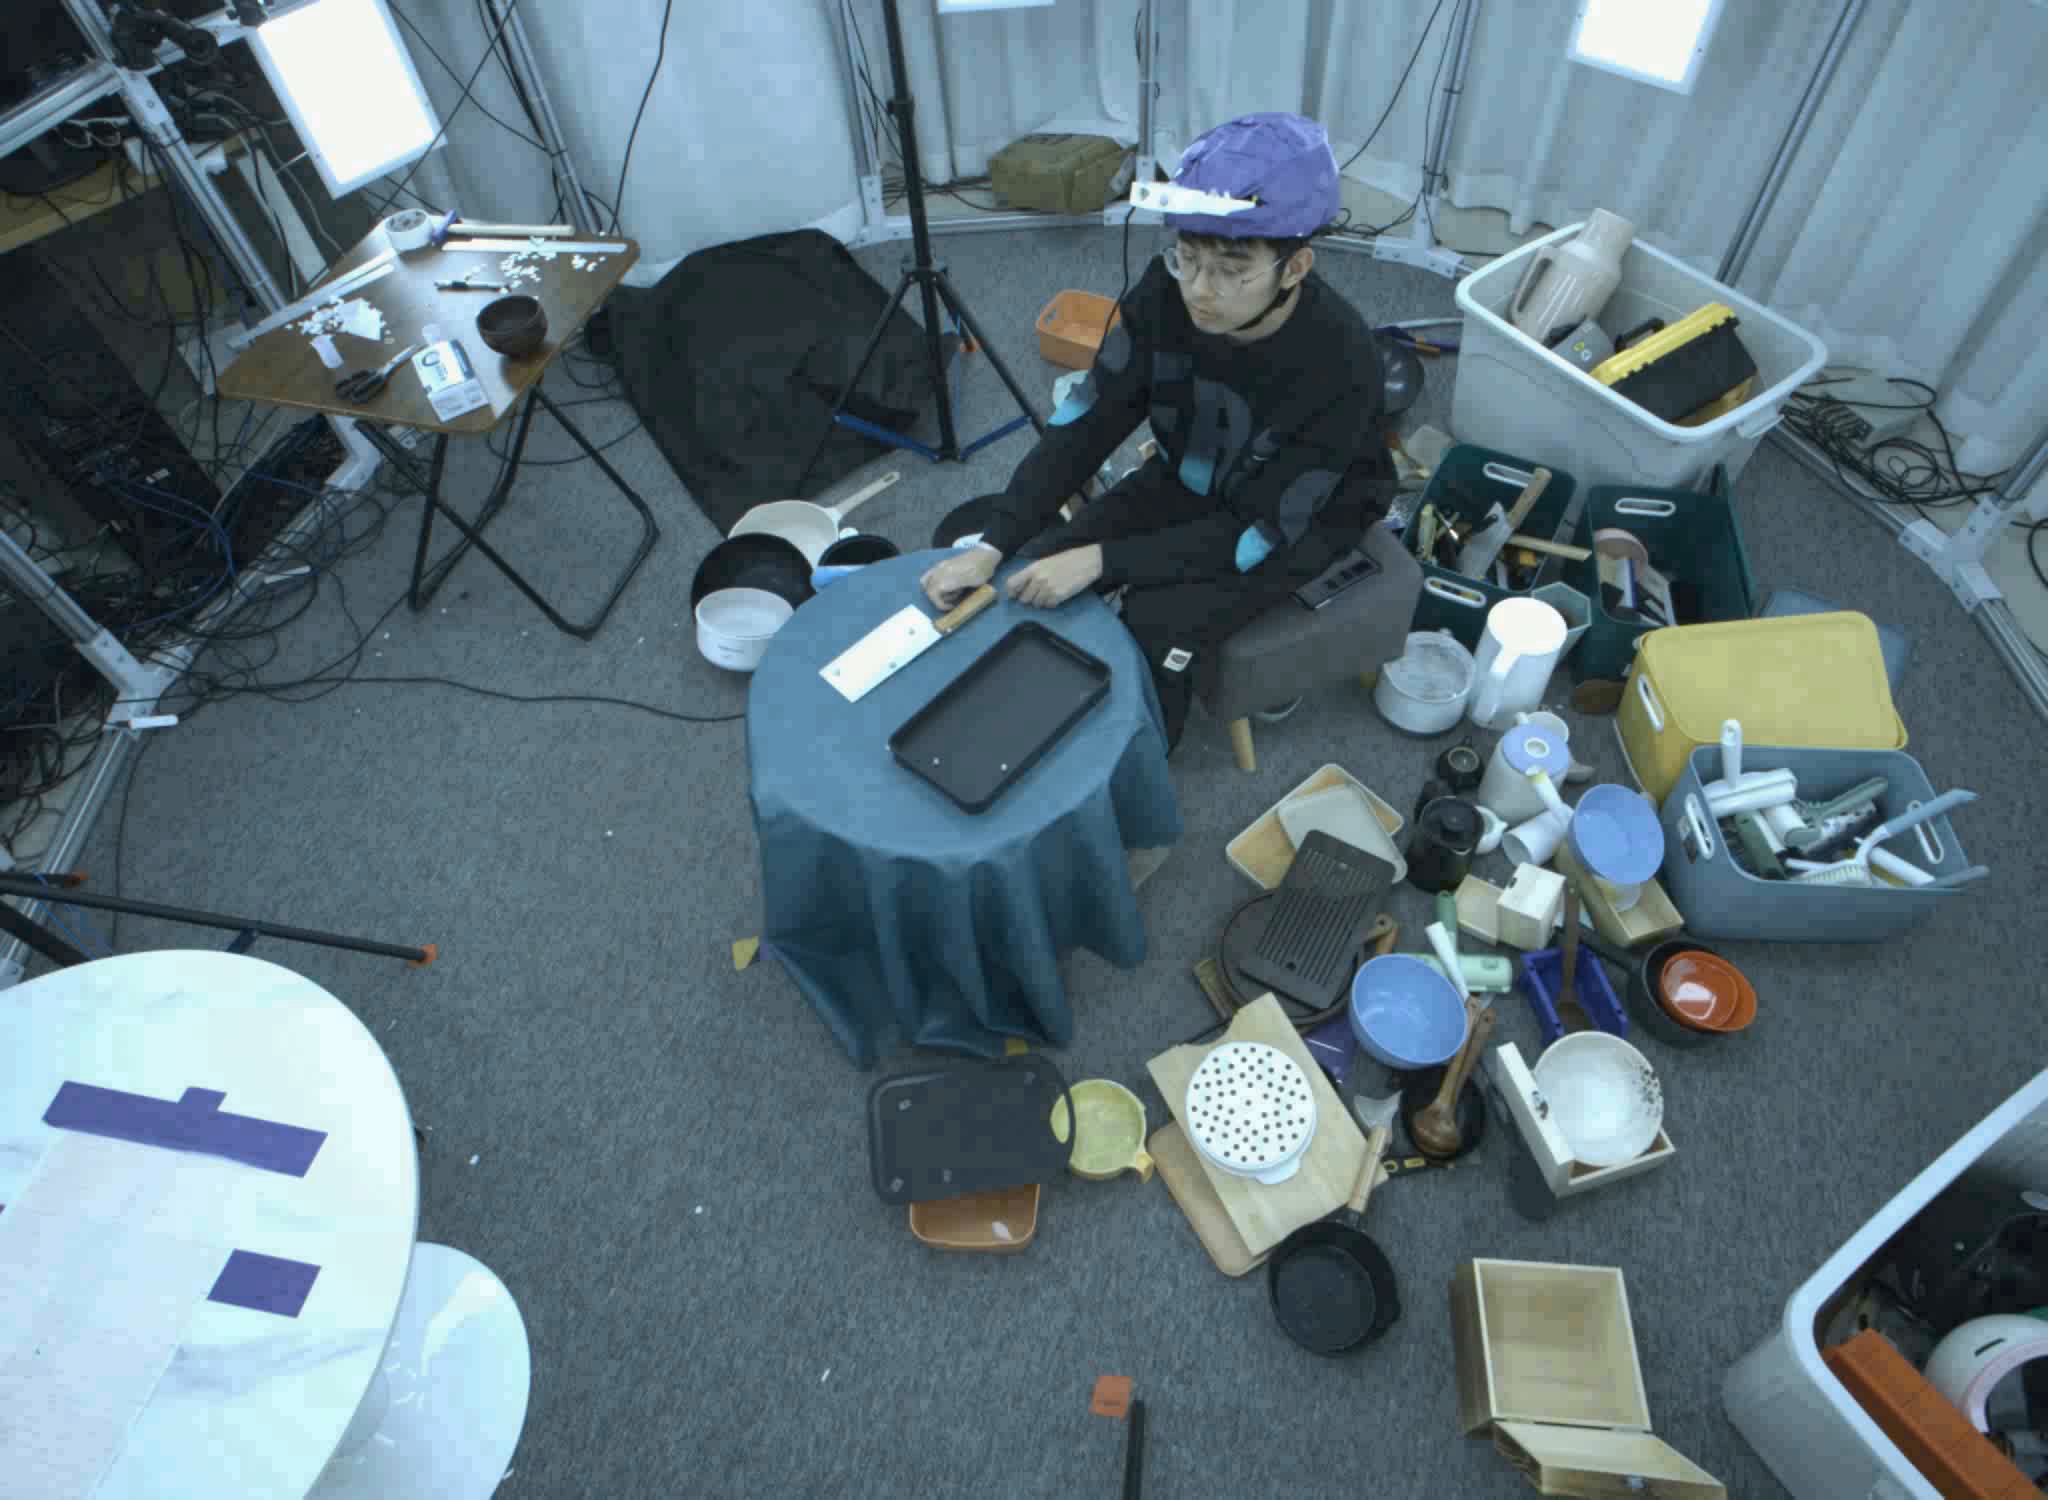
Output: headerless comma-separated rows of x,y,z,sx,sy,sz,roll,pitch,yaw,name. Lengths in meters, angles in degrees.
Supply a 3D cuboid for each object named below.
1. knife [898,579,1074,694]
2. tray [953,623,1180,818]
-0.062,-0.192,1.916,0.308,0.021,0.091,-35,59,-18,knife
0.064,-0.049,1.797,0.181,0.037,0.320,37,63,25,tray
